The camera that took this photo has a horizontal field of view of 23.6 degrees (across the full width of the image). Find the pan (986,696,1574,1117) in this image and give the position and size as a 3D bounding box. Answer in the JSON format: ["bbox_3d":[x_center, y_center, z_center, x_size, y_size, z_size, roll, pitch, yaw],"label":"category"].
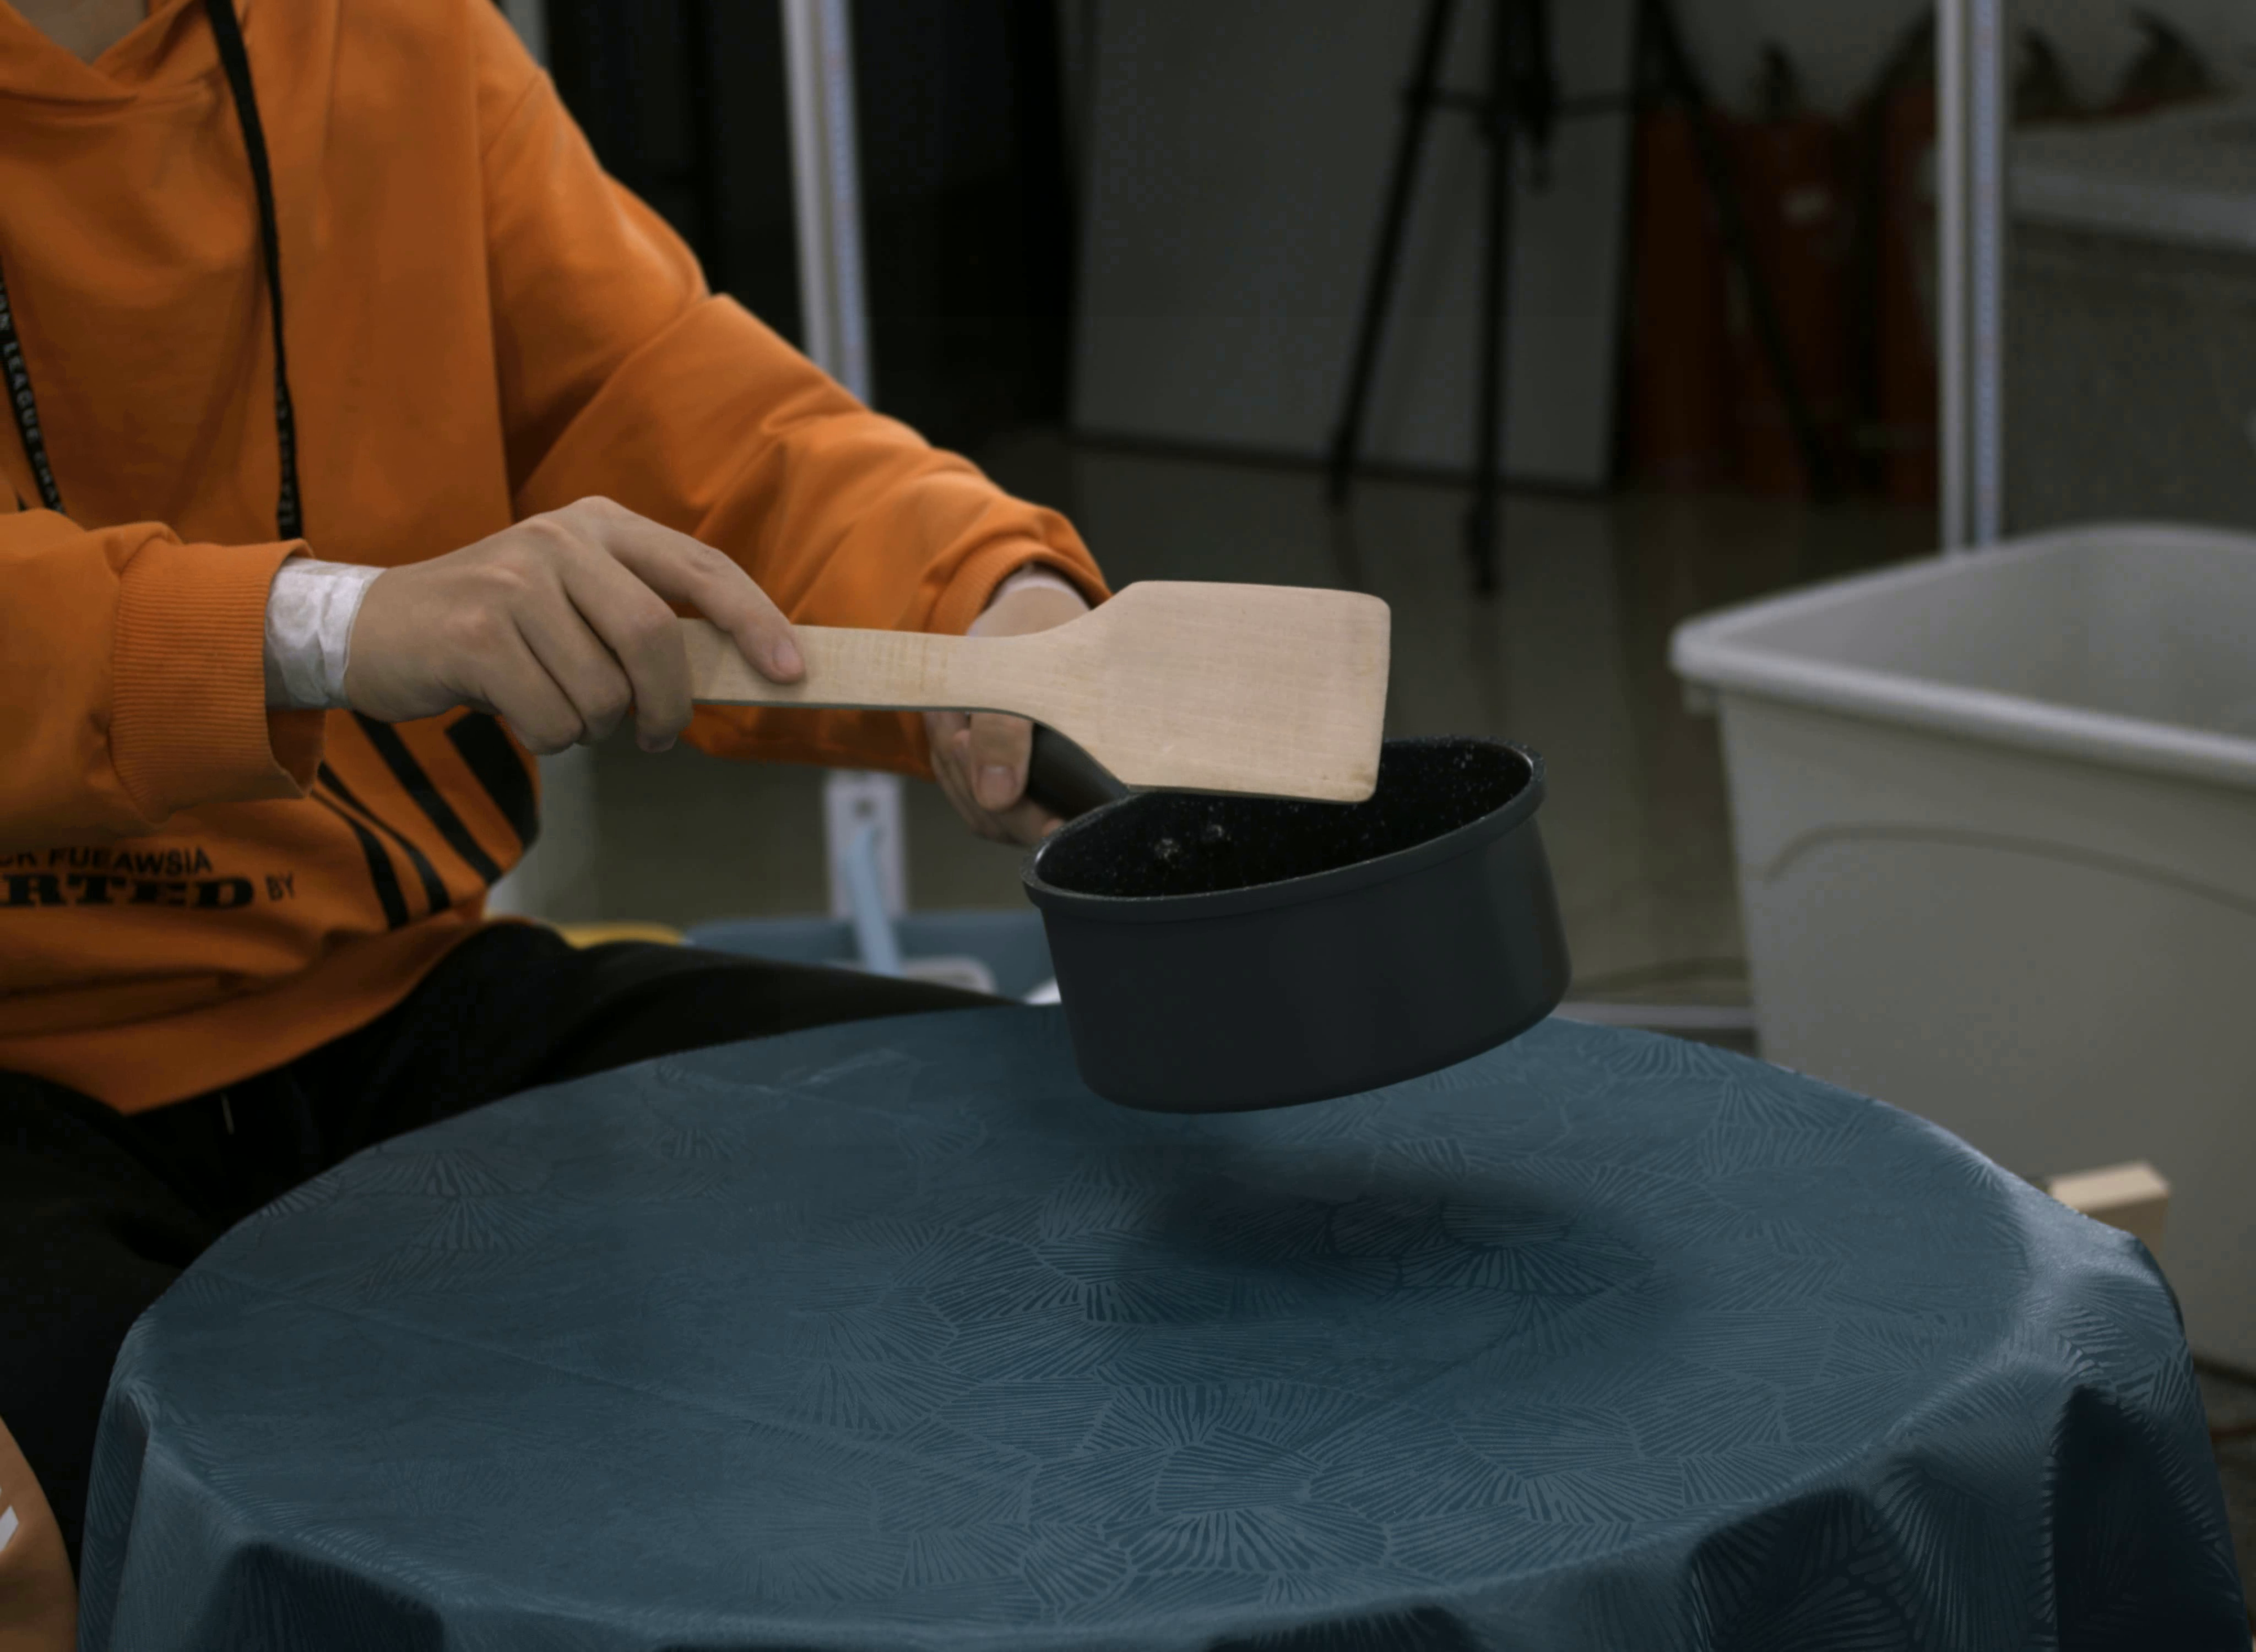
[{"bbox_3d":[0.026,0.015,1.783,0.169,0.087,0.332,-16,15,-18],"label":"pan"}]

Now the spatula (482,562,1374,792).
[{"bbox_3d":[-0.066,-0.052,1.717,0.291,0.073,0.010,2,-14,12],"label":"spatula"}]
